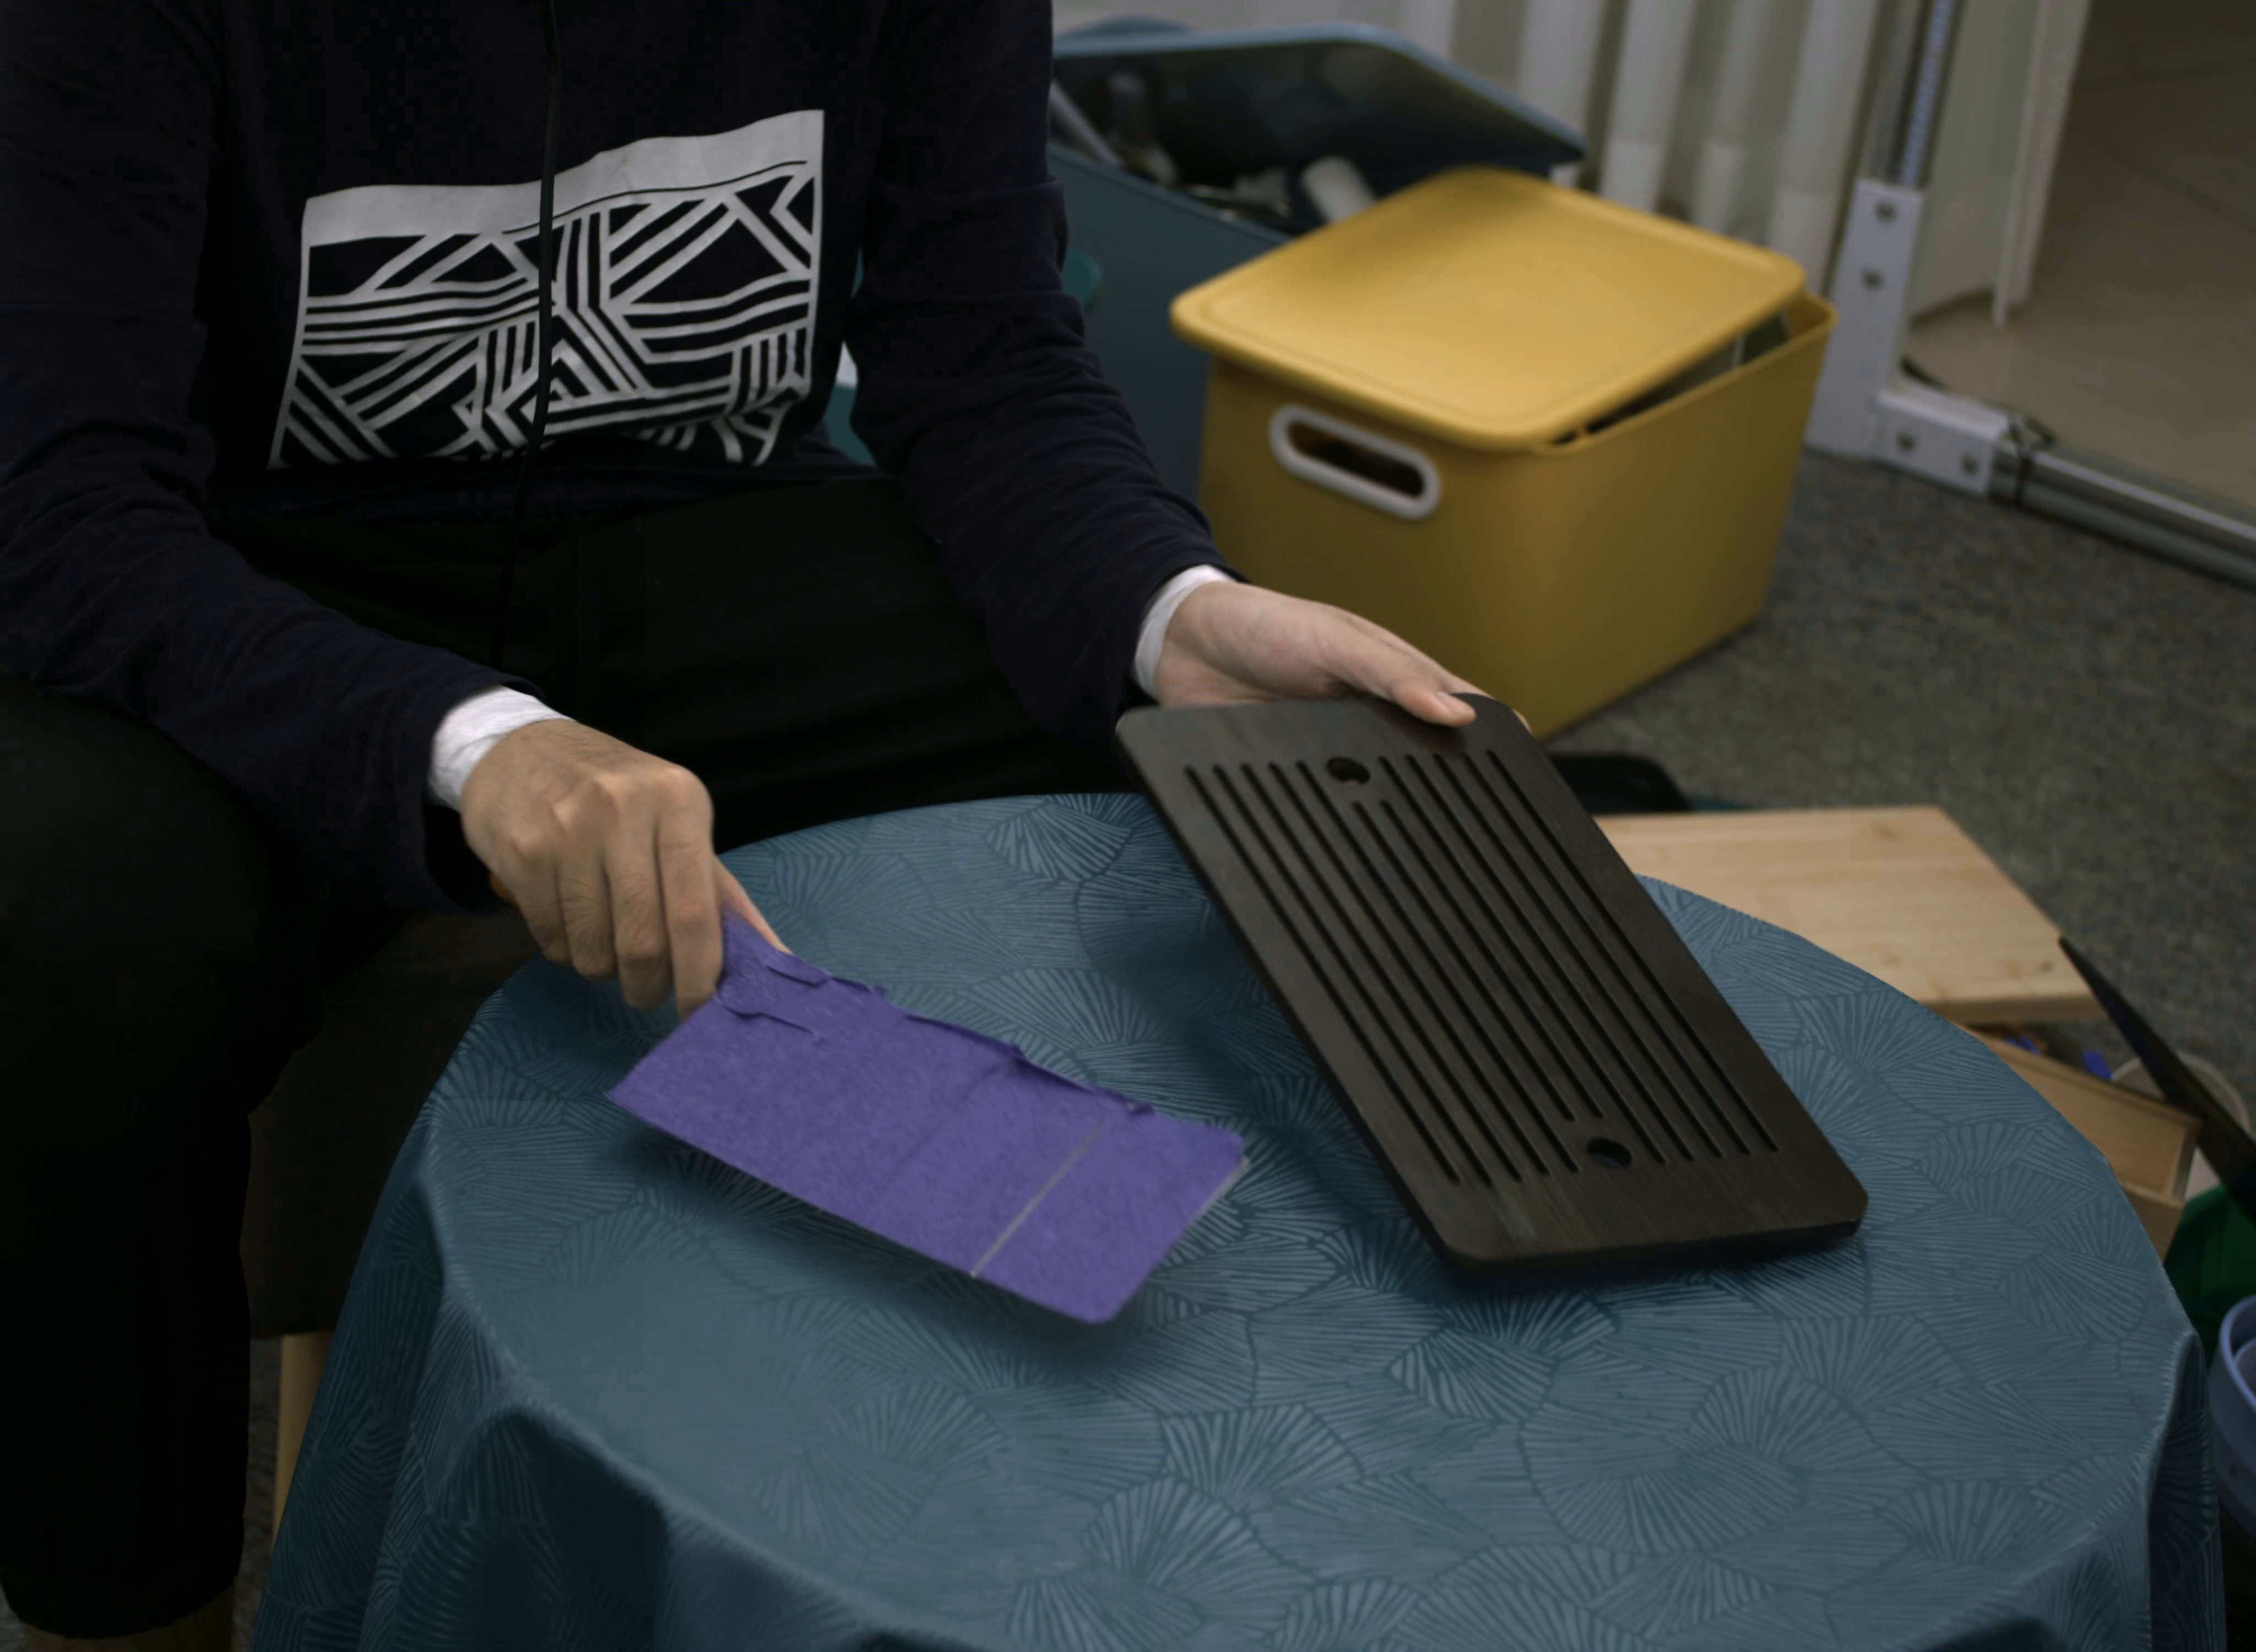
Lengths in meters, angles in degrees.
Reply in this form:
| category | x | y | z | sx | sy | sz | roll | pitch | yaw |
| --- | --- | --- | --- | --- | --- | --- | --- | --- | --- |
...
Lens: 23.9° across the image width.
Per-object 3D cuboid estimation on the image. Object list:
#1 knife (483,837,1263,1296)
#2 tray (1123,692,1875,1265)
| category | x | y | z | sx | sy | sz | roll | pitch | yaw |
| --- | --- | --- | --- | --- | --- | --- | --- | --- | --- |
| knife | -0.110 | 0.078 | 1.785 | 0.317 | 0.032 | 0.104 | 19 | 46 | 31 |
| tray | 0.126 | 0.050 | 1.893 | 0.169 | 0.018 | 0.309 | -3 | 38 | -26 |
